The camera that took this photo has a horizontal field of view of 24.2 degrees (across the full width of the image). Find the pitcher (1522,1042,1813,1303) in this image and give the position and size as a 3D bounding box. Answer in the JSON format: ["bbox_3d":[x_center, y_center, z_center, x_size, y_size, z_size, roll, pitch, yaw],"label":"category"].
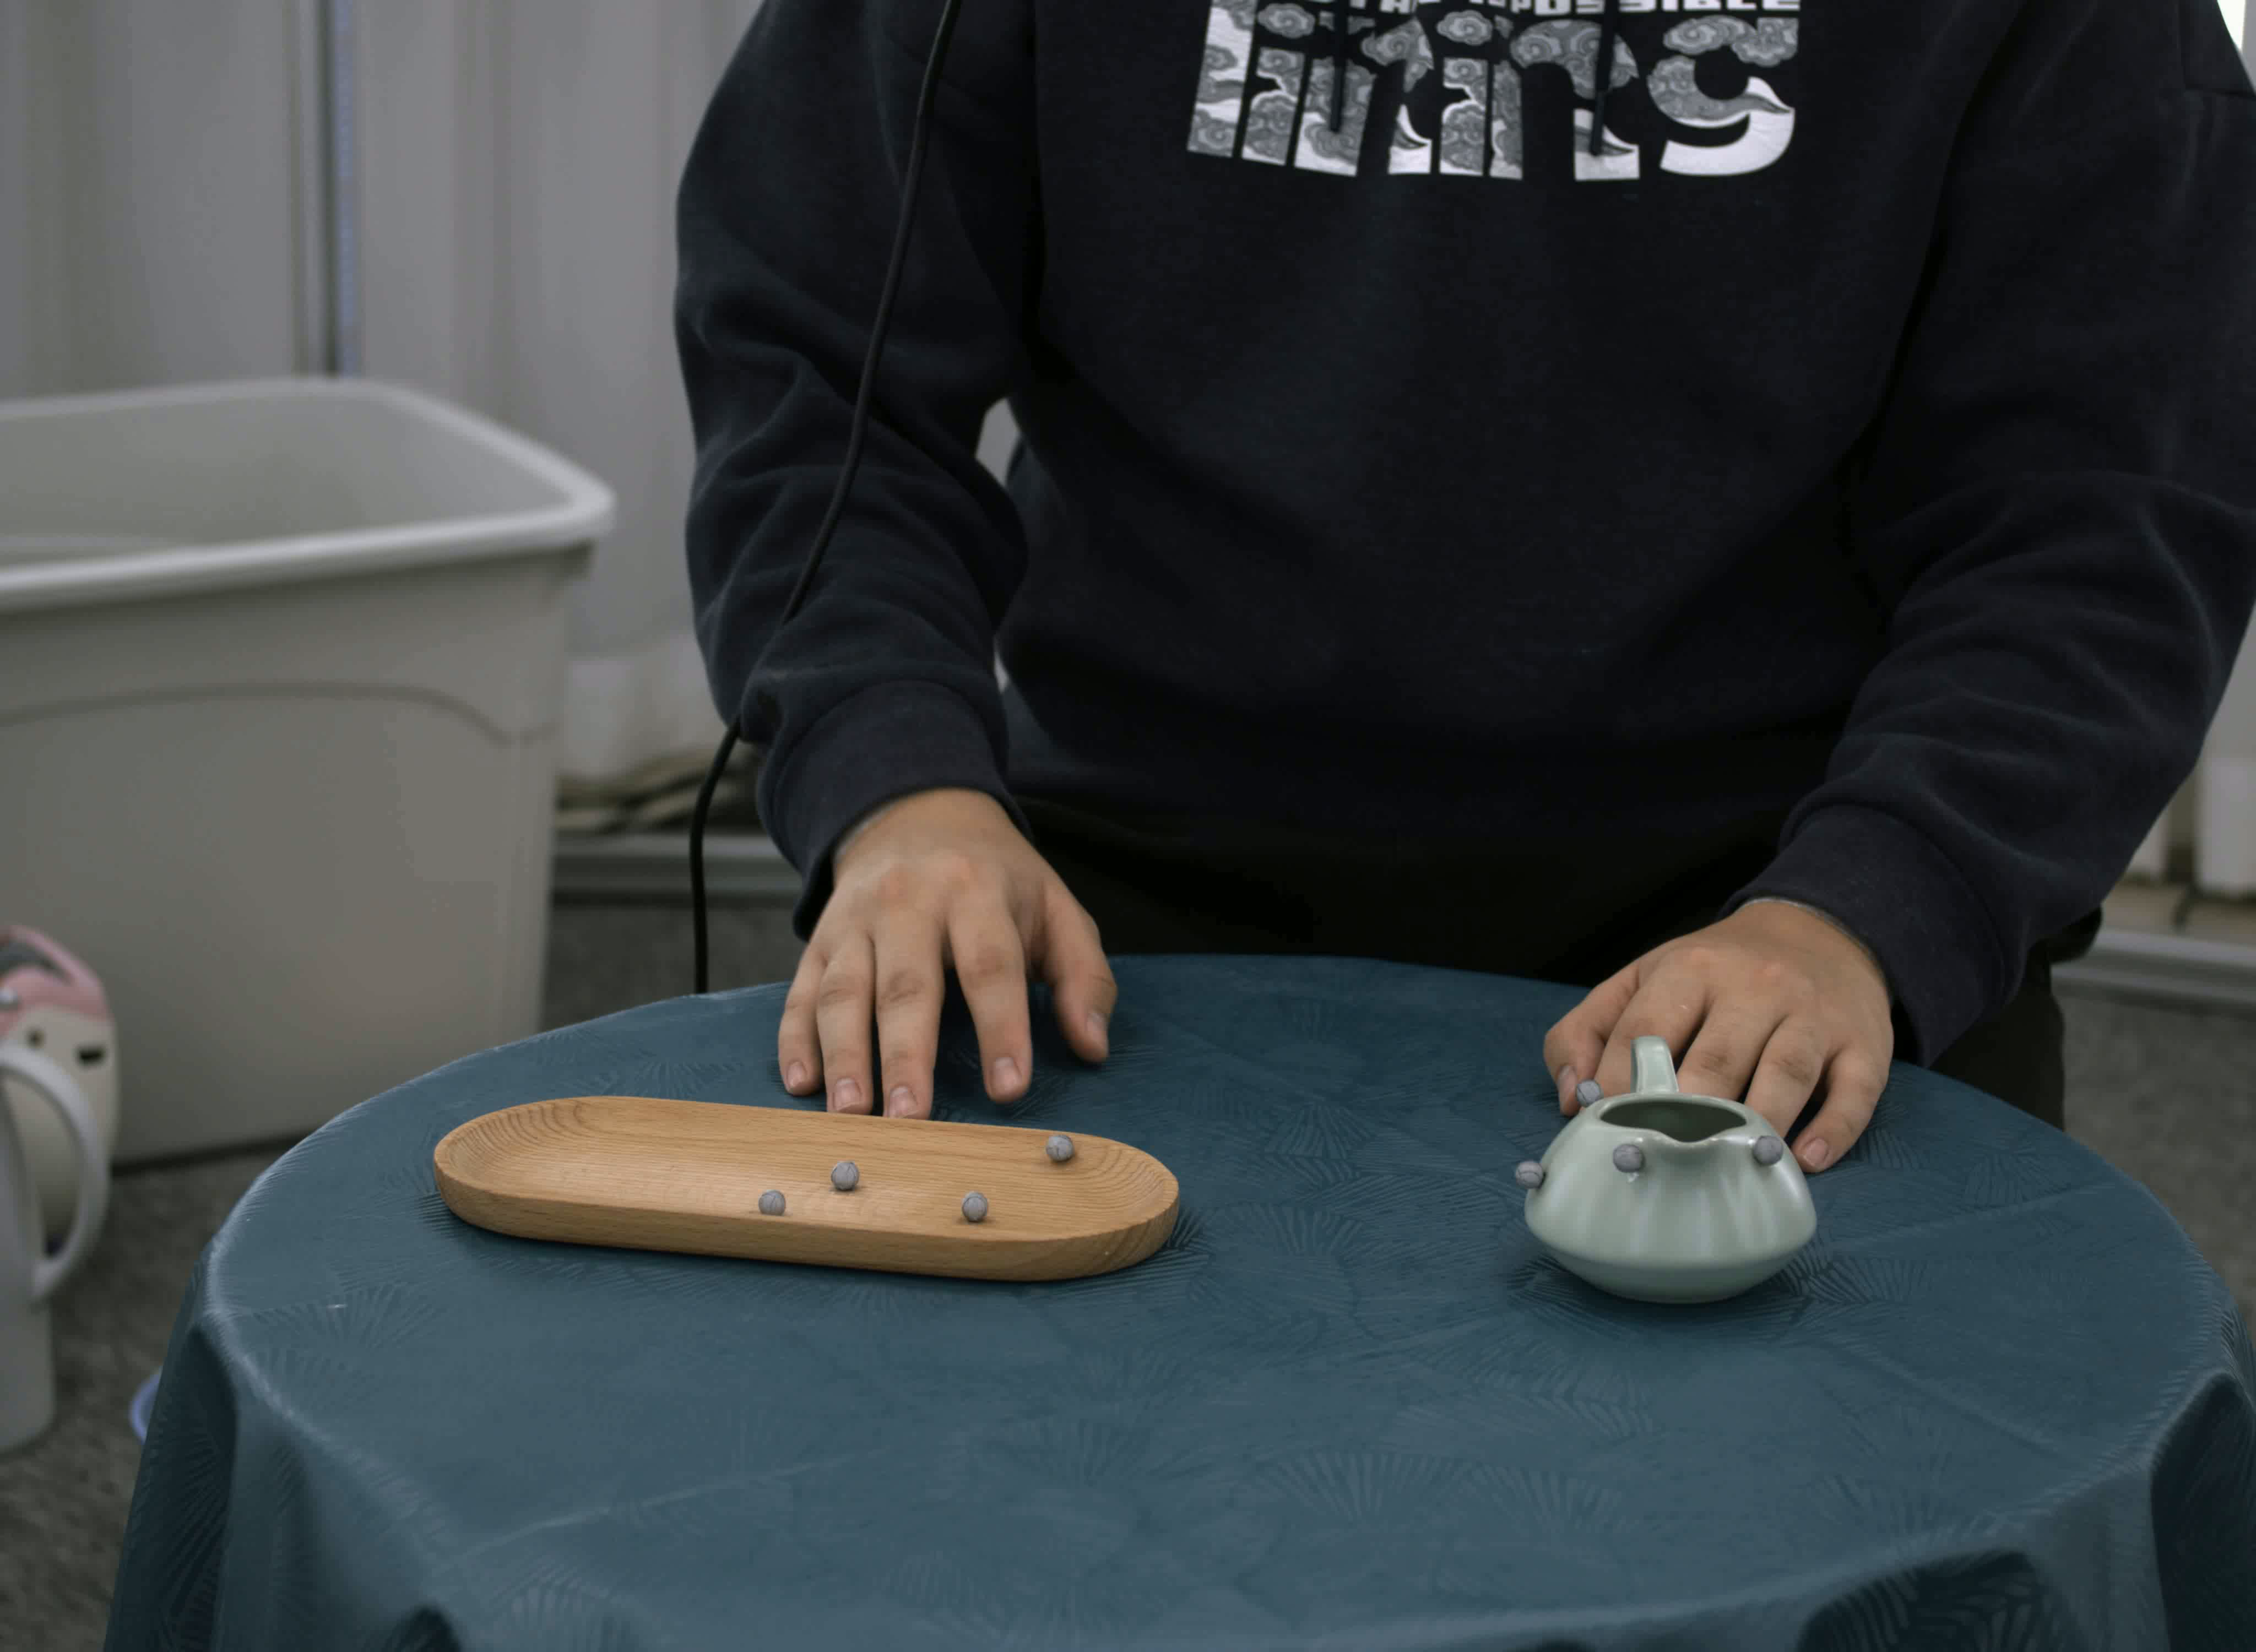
[{"bbox_3d":[0.158,0.103,1.563,0.086,0.061,0.107,1,13,-4],"label":"pitcher"}]

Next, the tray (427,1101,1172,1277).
[{"bbox_3d":[-0.100,0.110,1.600,0.229,0.020,0.101,2,14,11],"label":"tray"}]
